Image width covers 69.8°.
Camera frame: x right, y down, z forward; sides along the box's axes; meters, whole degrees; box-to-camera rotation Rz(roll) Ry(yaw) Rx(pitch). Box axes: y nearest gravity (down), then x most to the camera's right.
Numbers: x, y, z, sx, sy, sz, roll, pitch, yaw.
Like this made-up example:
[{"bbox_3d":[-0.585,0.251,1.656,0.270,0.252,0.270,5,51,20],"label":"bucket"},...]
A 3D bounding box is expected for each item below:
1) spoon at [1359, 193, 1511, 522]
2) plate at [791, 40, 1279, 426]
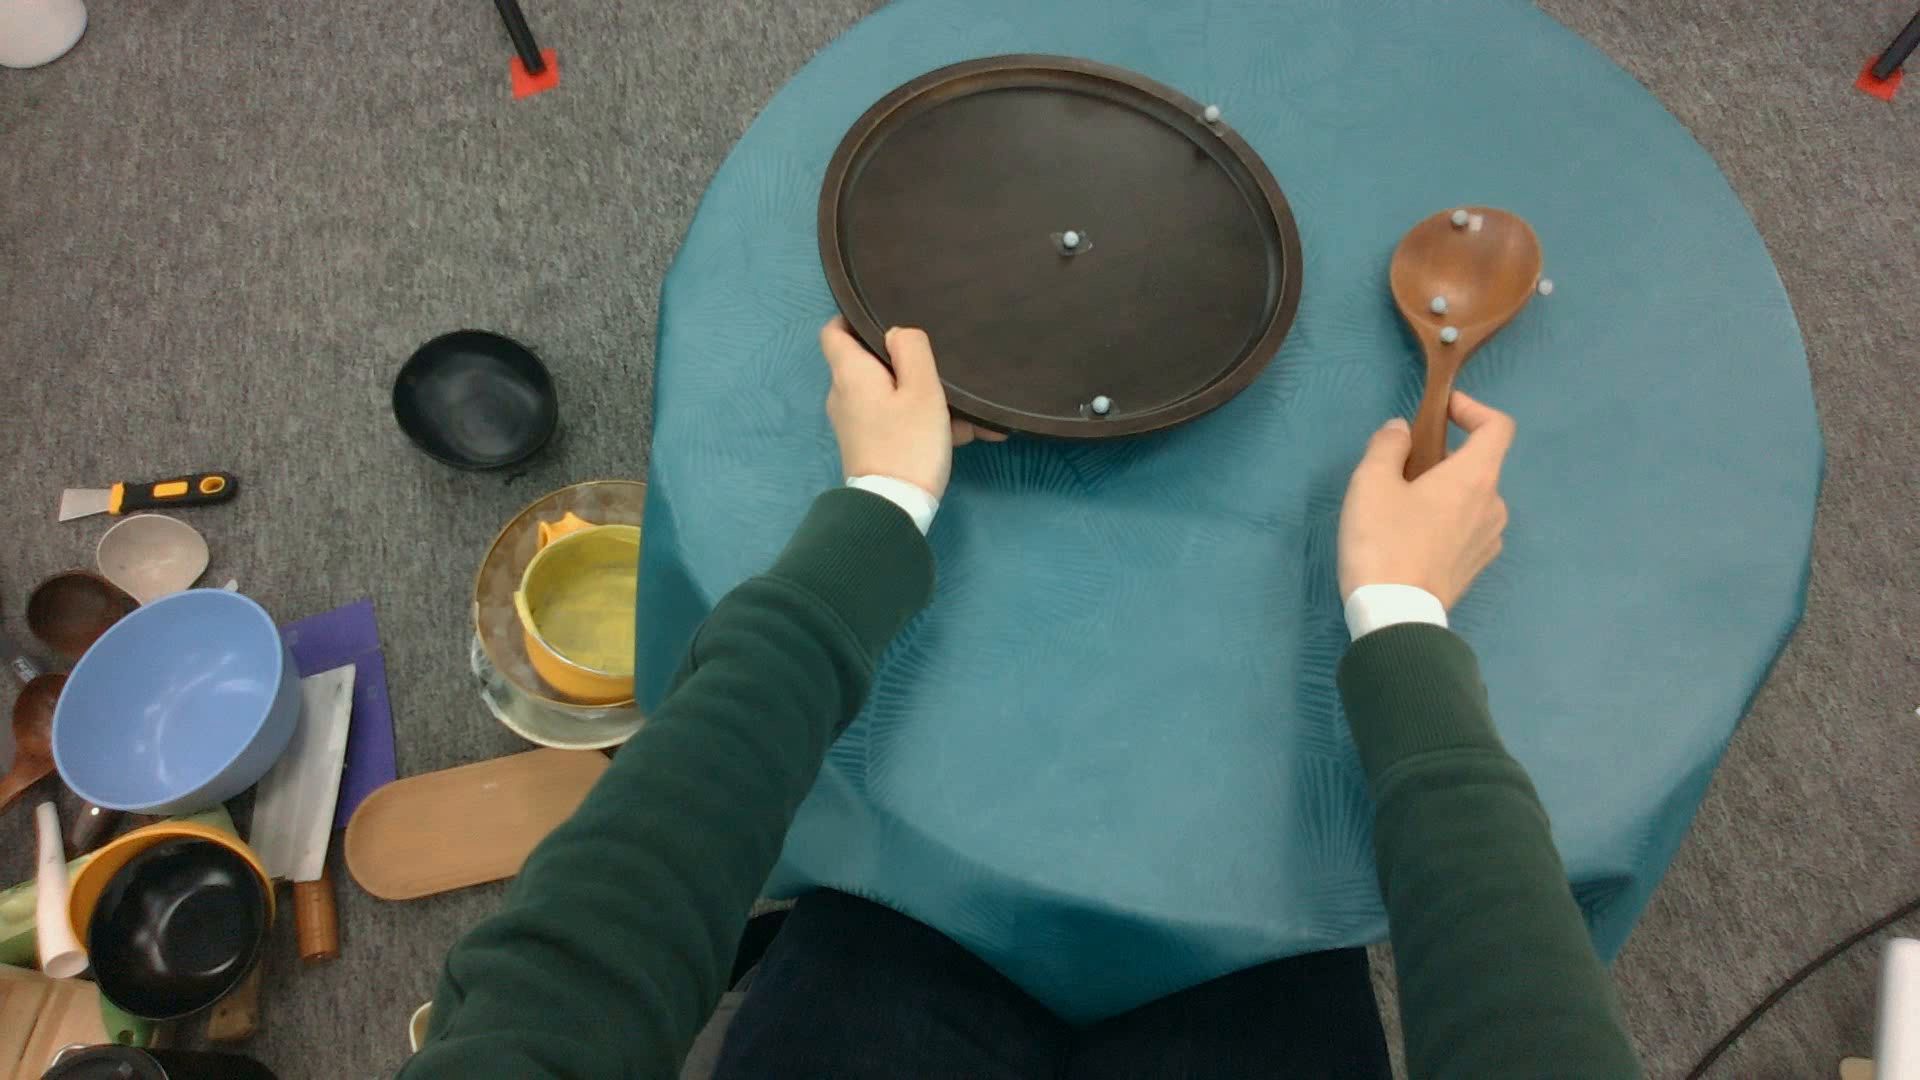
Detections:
[{"bbox_3d":[0.229,-0.097,0.691,0.075,0.017,0.217,10,57,20],"label":"spoon"},{"bbox_3d":[0.040,-0.164,0.716,0.255,0.029,0.256,3,60,-5],"label":"plate"}]
